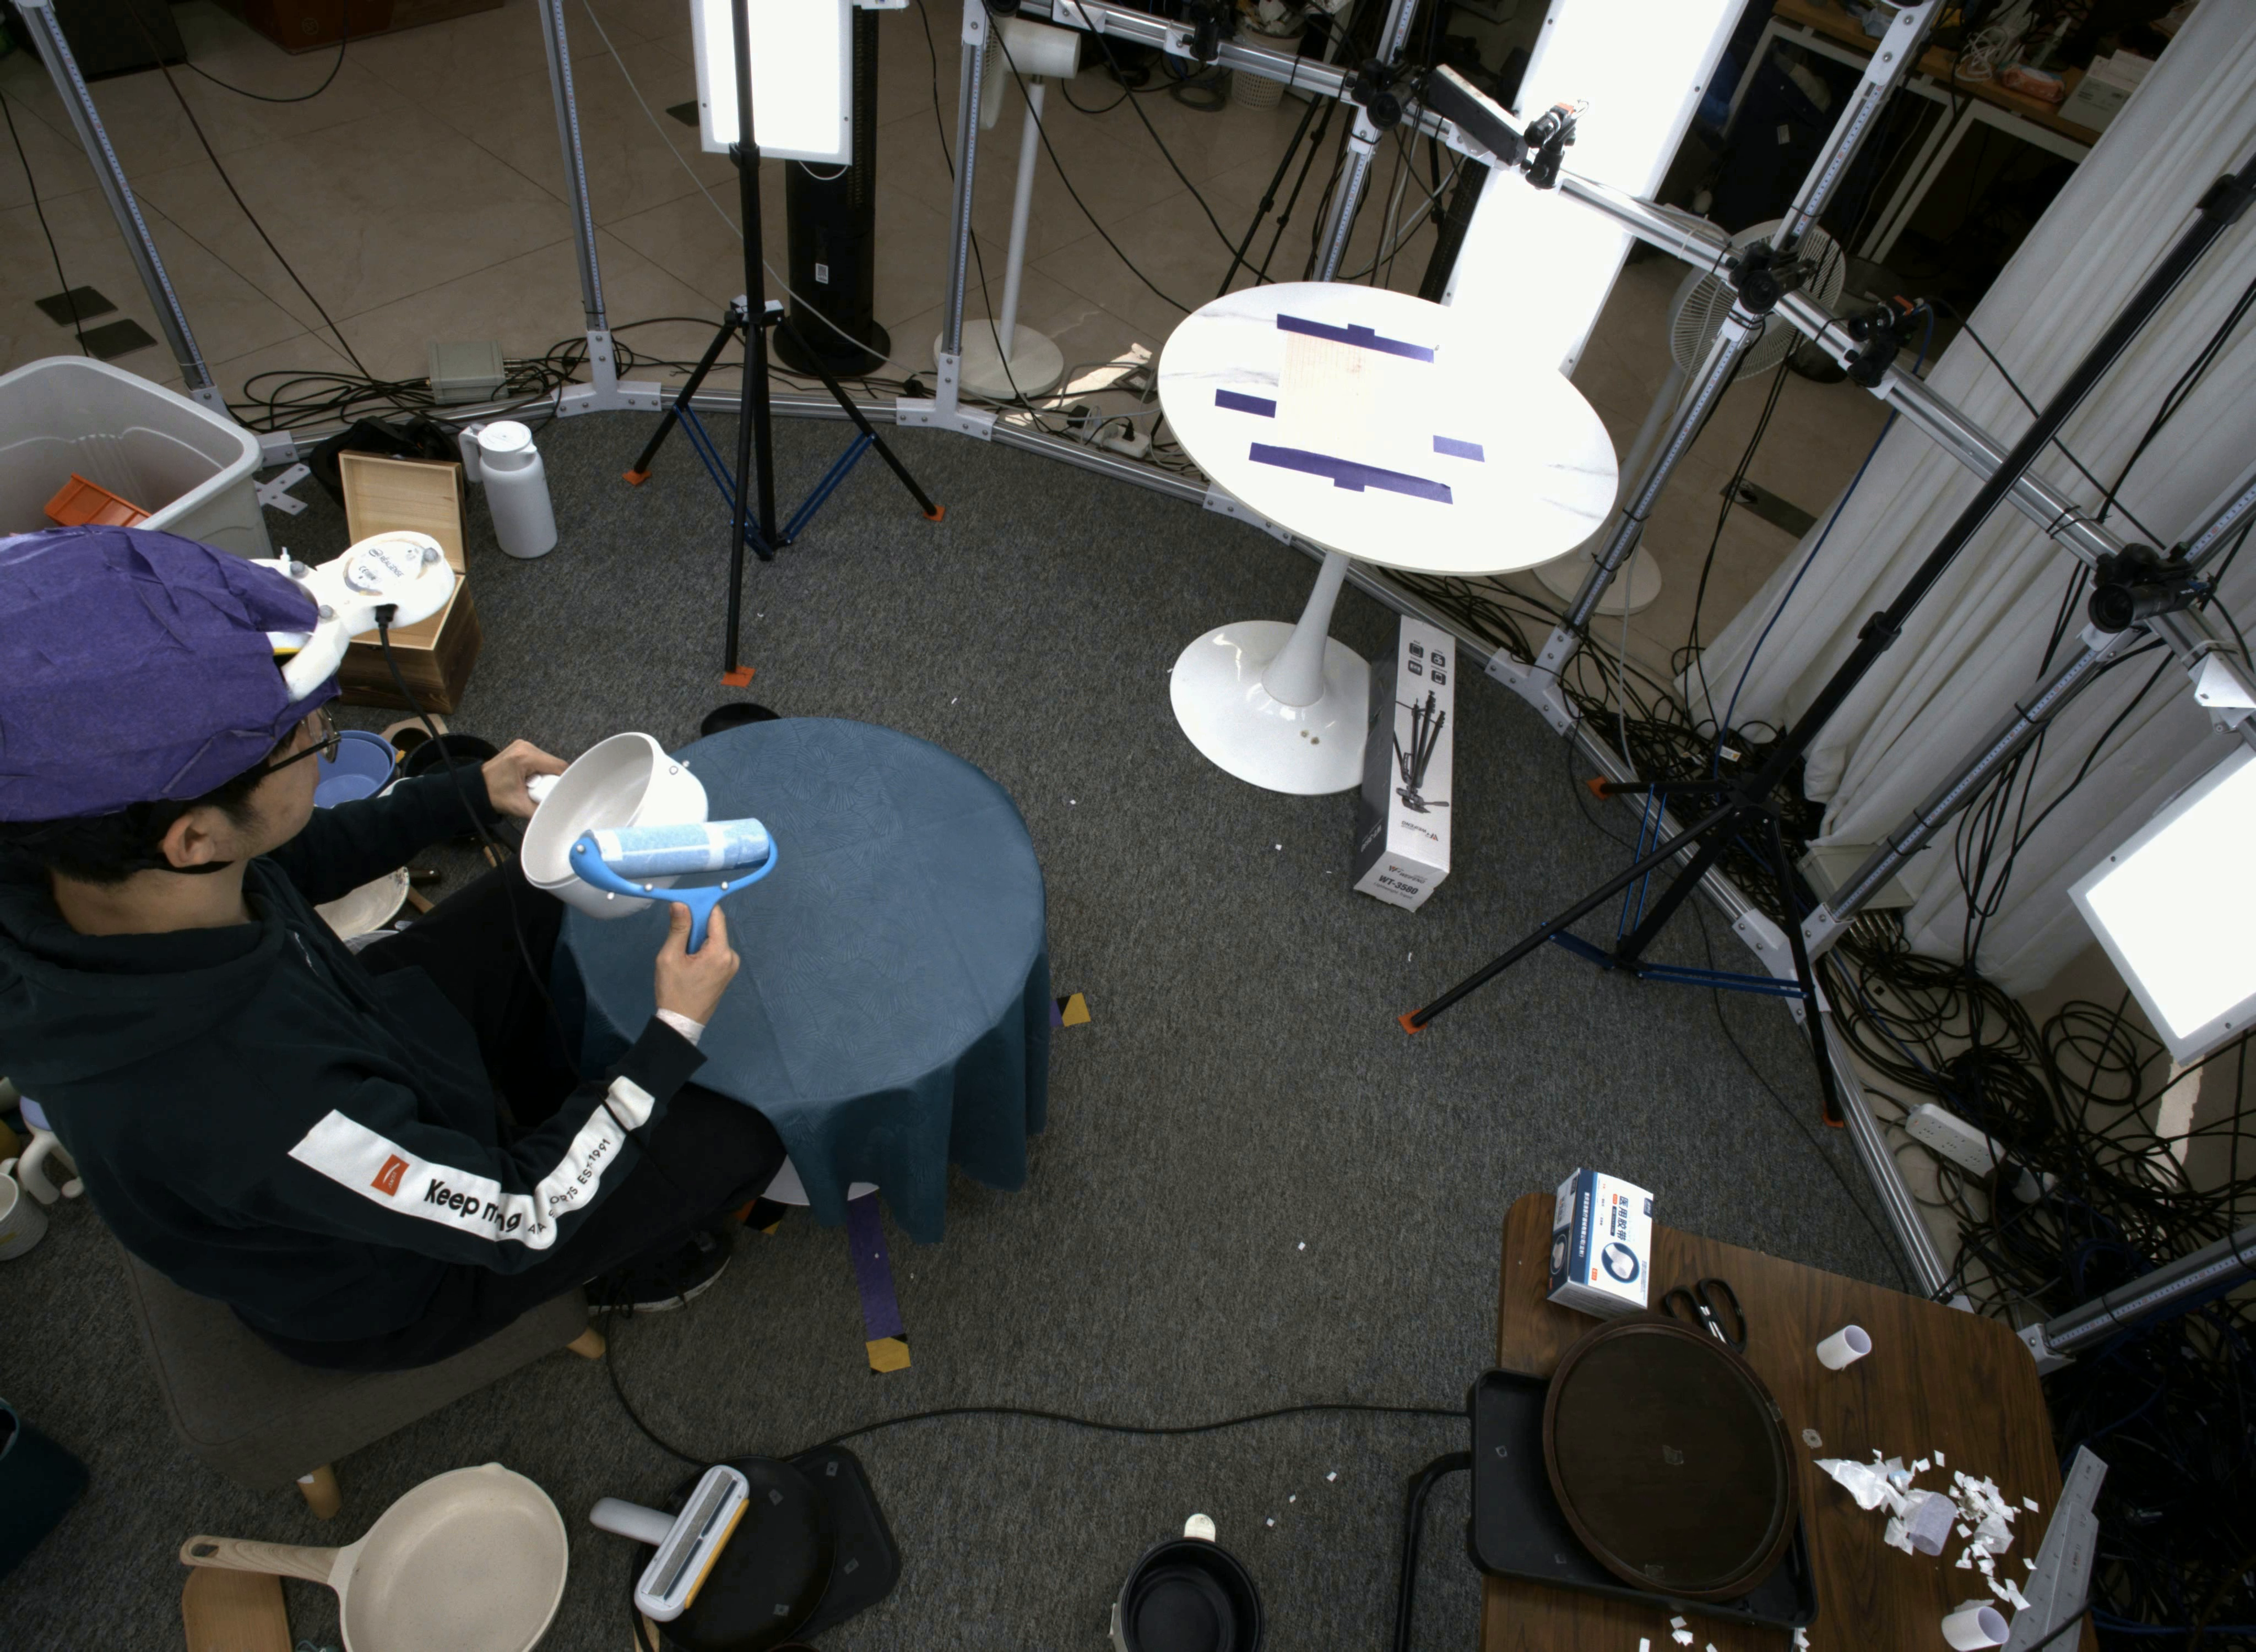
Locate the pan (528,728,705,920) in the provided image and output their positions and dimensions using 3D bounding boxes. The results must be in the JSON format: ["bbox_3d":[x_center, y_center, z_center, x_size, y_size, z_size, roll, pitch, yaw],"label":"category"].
[{"bbox_3d":[-0.612,-0.014,1.456,0.341,0.106,0.201,17,69,42],"label":"pan"}]

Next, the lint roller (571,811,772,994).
[{"bbox_3d":[-0.458,0.076,1.326,0.232,0.066,0.182,-11,88,-52],"label":"lint roller"}]
